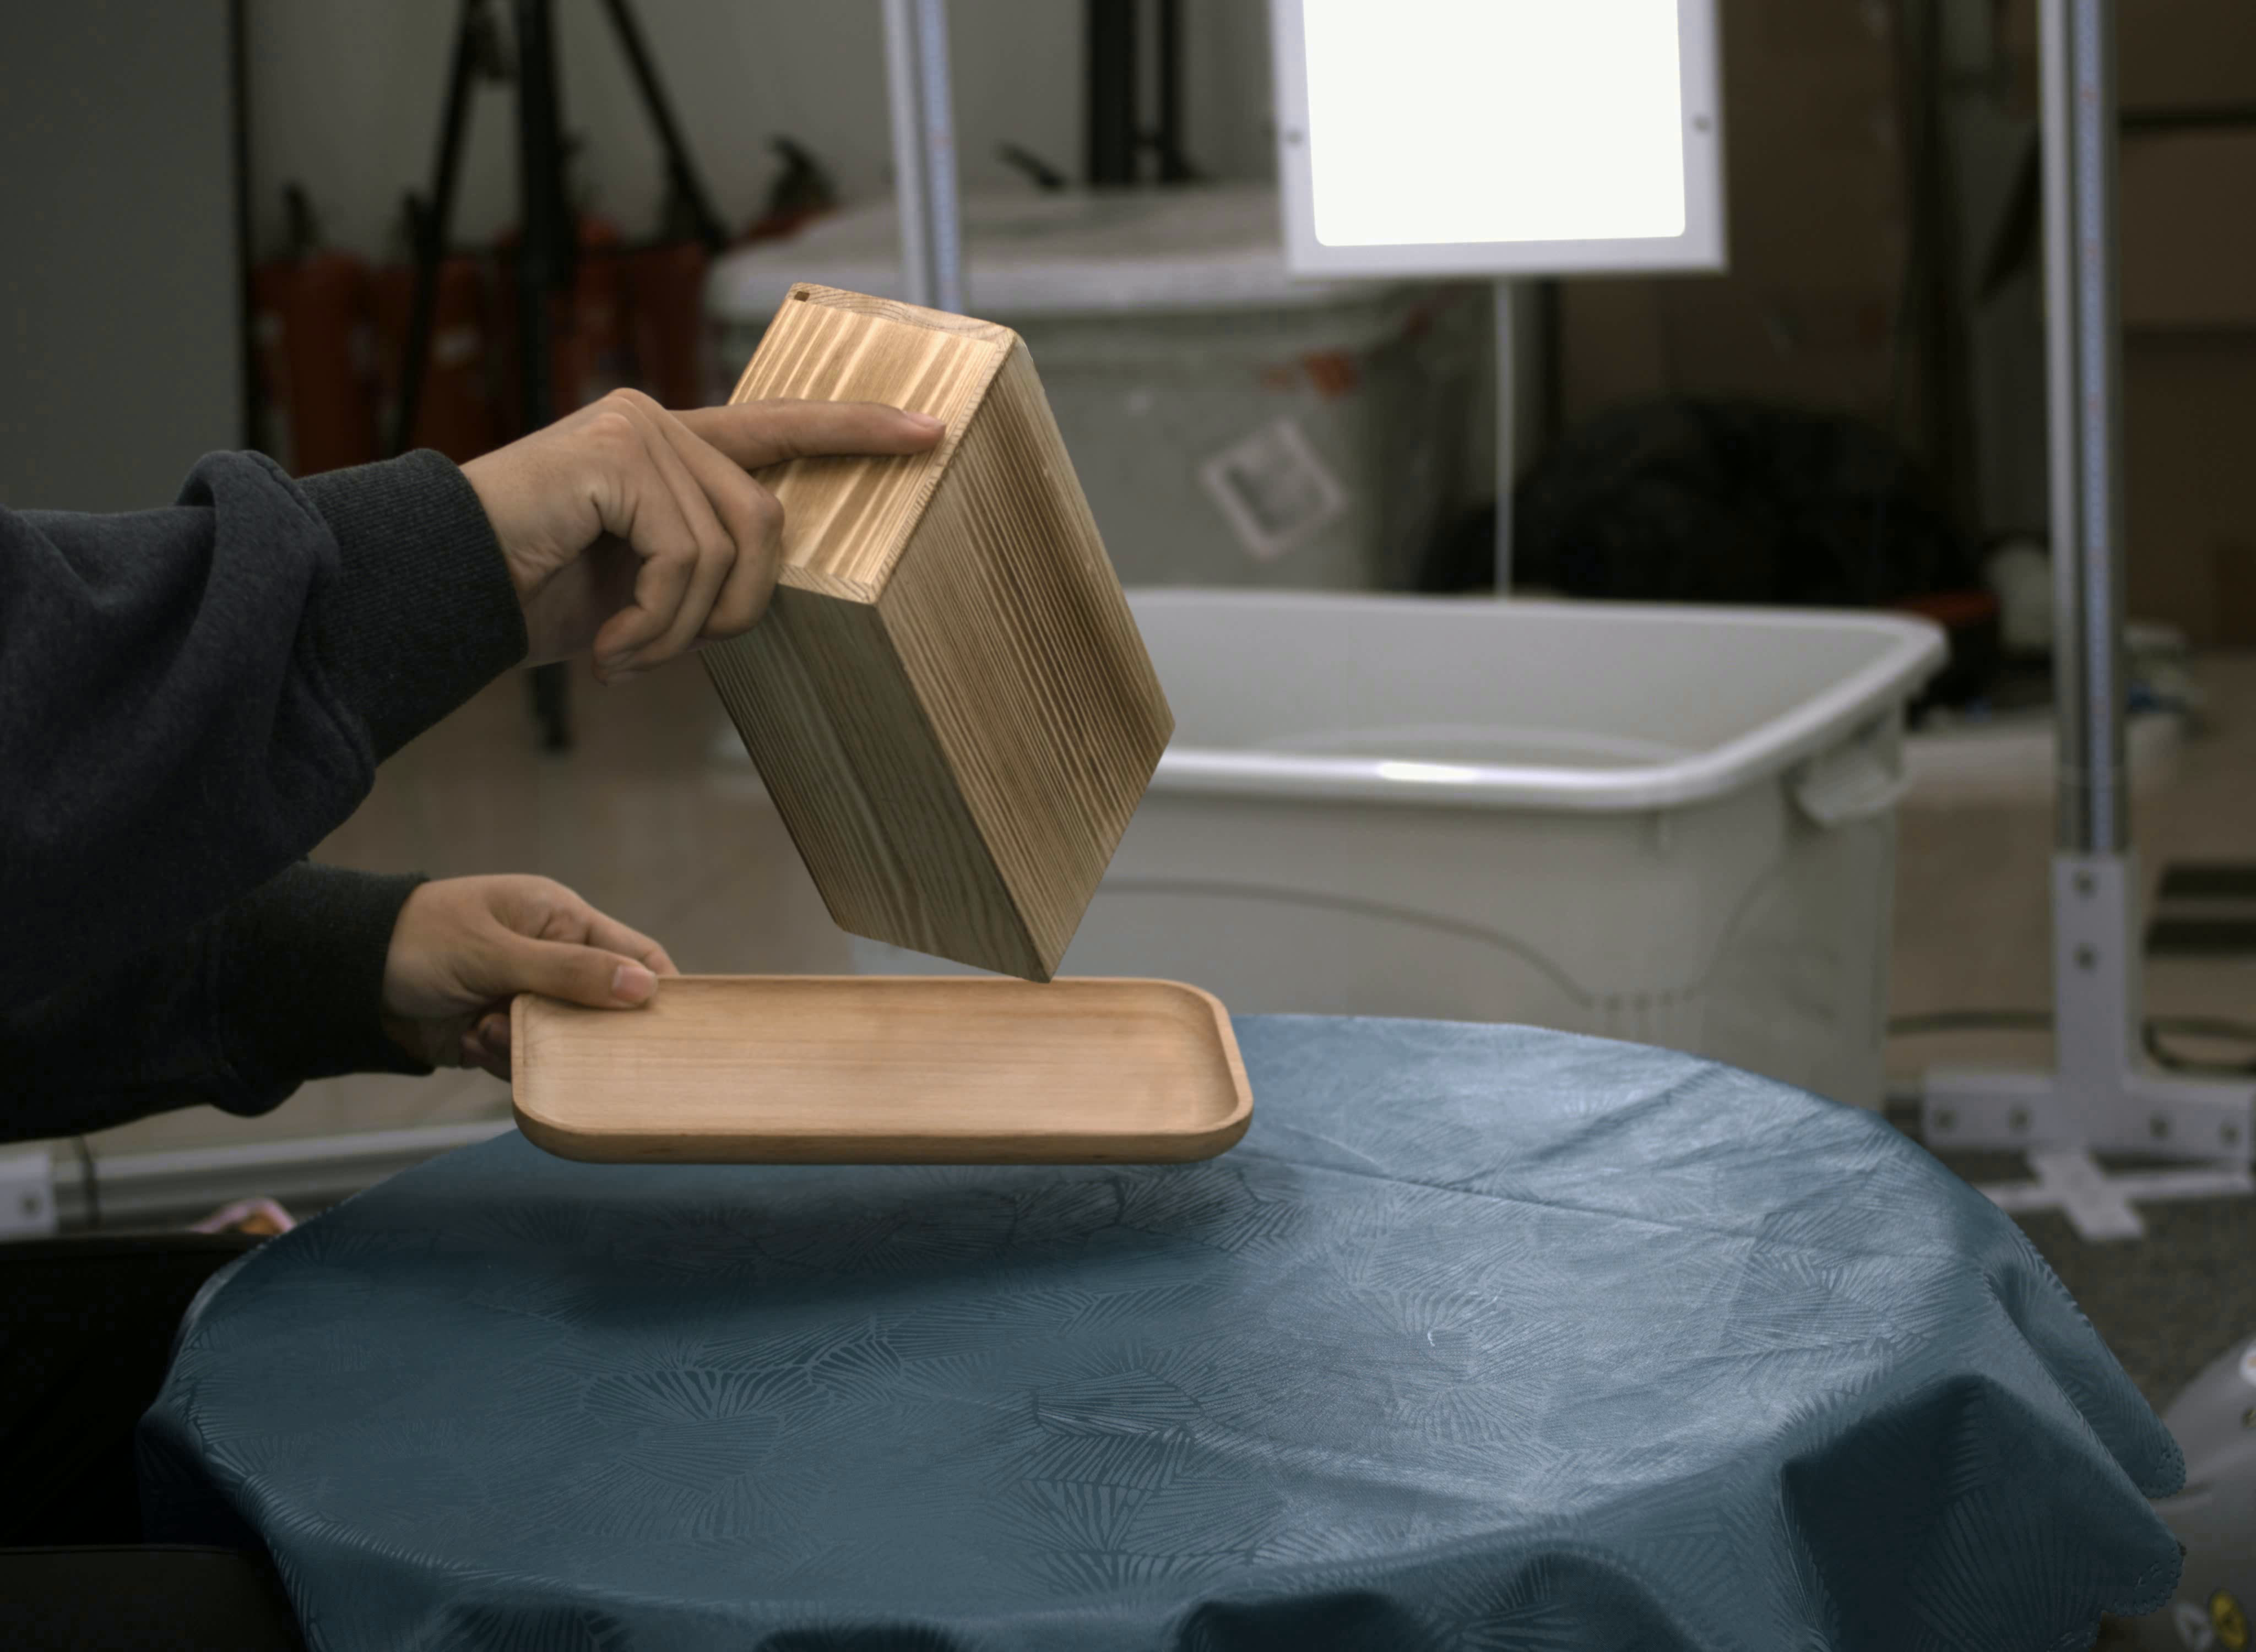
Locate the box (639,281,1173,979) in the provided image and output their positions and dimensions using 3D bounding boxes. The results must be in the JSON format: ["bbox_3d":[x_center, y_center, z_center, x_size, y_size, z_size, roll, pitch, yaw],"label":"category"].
[{"bbox_3d":[-0.065,-0.058,1.714,0.081,0.210,0.106,15,62,25],"label":"box"}]

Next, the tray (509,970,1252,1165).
[{"bbox_3d":[-0.086,0.083,1.881,0.249,0.023,0.130,0,20,-4],"label":"tray"}]
